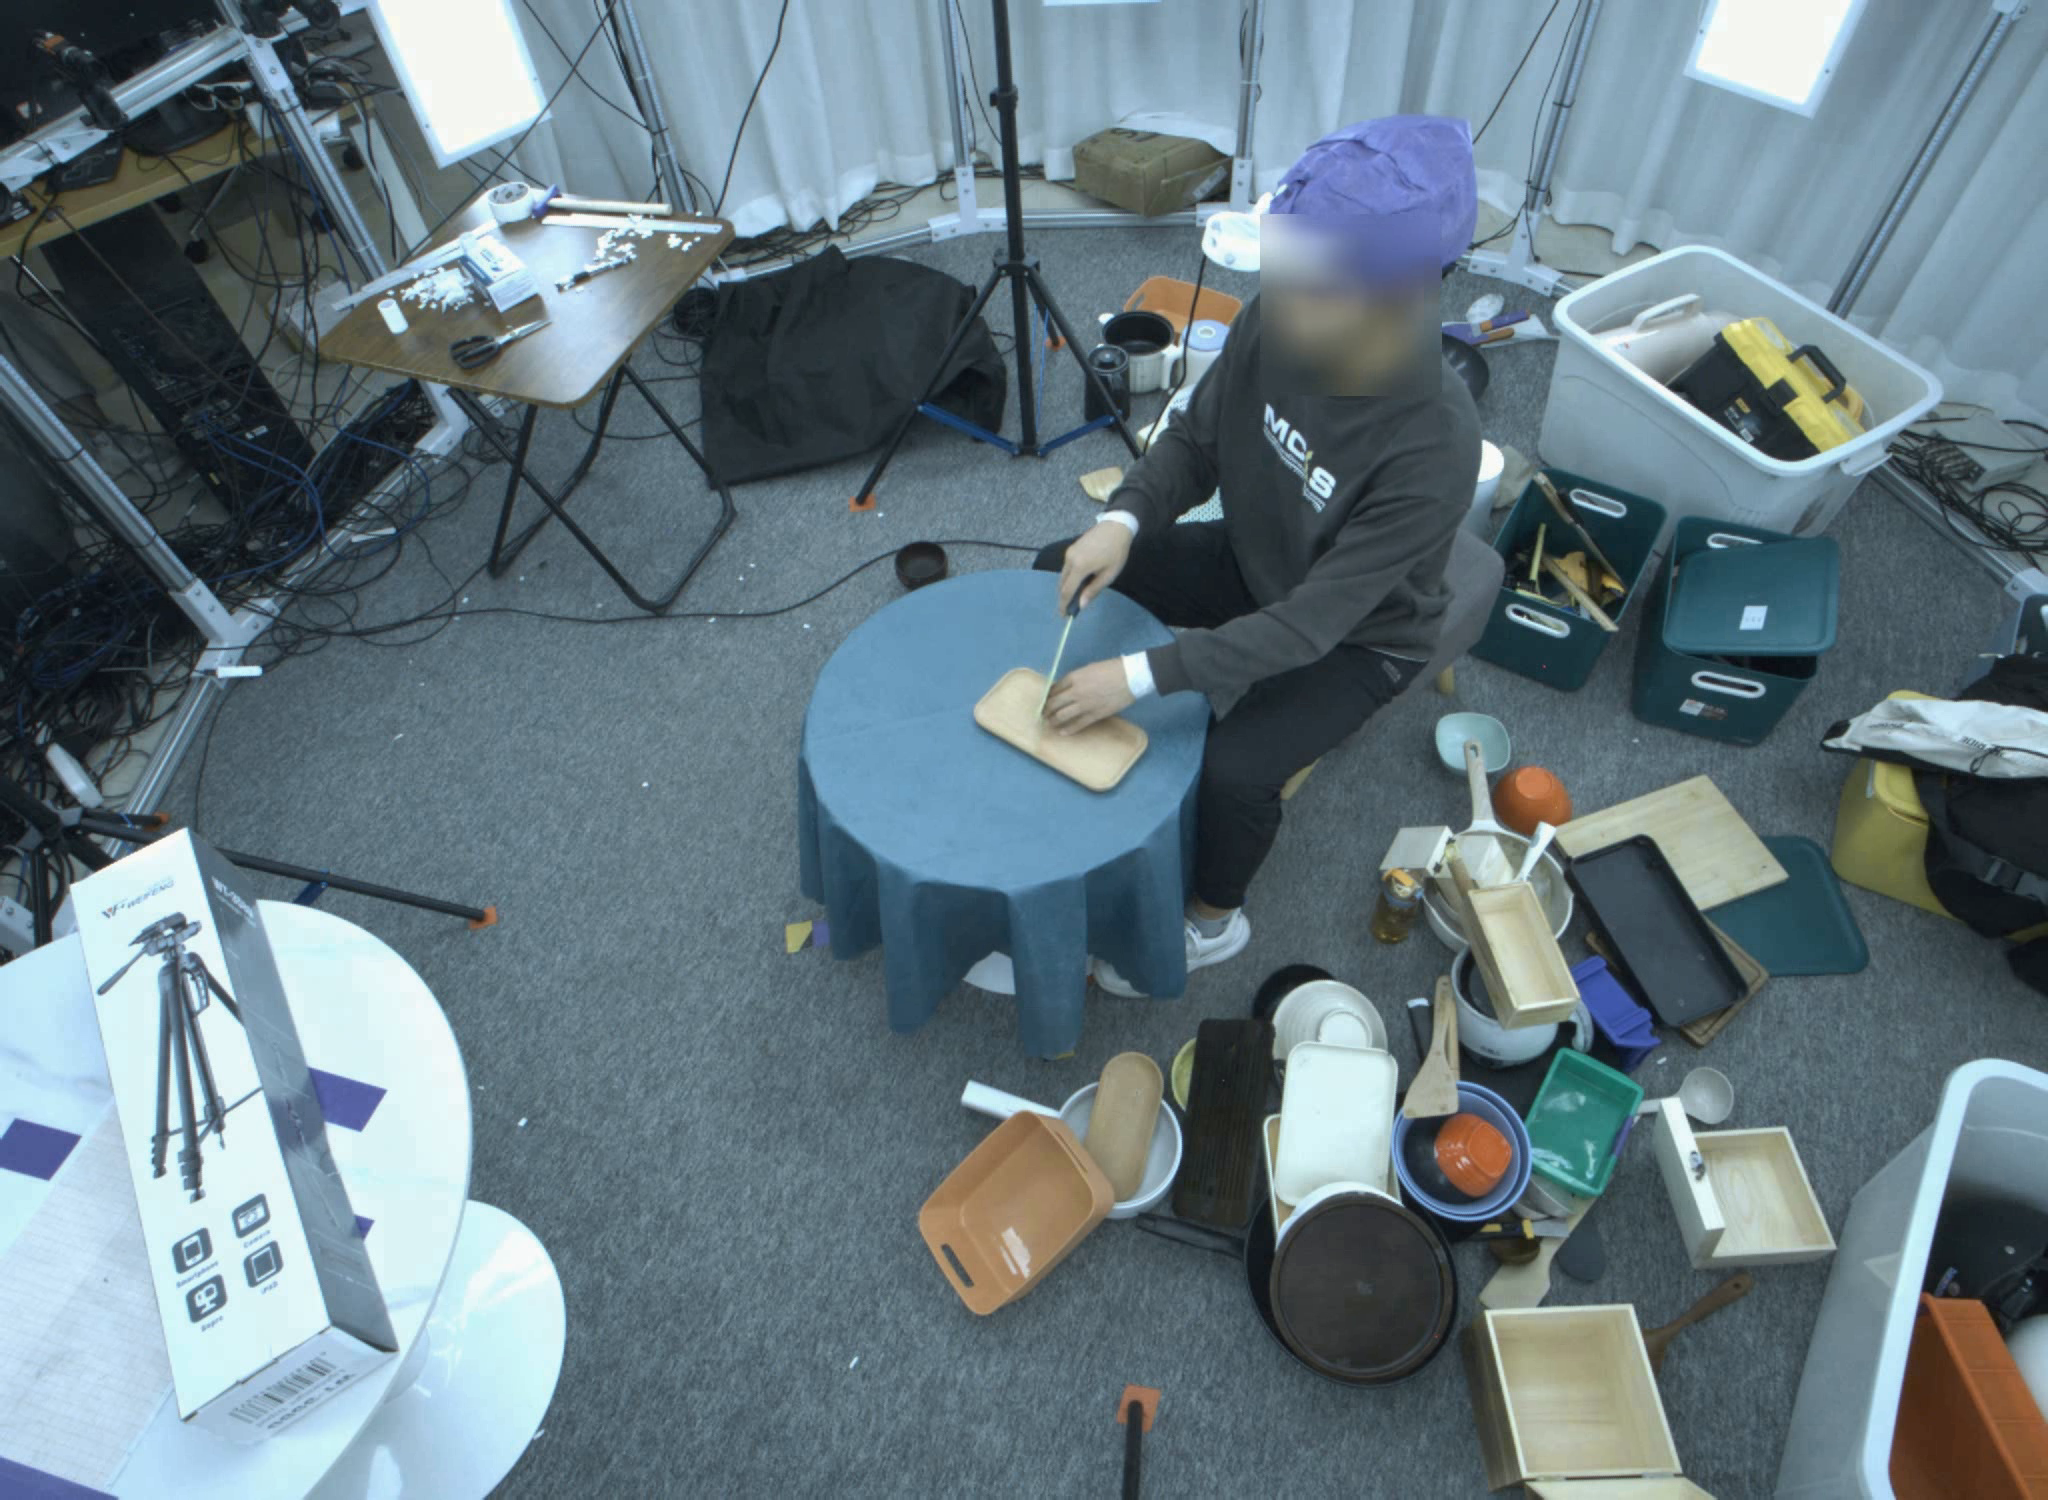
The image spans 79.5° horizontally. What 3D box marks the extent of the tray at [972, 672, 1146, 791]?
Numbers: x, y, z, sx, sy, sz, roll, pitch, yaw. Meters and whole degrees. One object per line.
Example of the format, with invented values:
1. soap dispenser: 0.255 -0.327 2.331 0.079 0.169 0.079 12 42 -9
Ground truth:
1. tray: 0.050 -0.029 1.810 0.246 0.023 0.131 28 57 24

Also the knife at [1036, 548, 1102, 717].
1. knife: 0.063 -0.175 1.822 0.027 0.081 0.289 22 69 -5
